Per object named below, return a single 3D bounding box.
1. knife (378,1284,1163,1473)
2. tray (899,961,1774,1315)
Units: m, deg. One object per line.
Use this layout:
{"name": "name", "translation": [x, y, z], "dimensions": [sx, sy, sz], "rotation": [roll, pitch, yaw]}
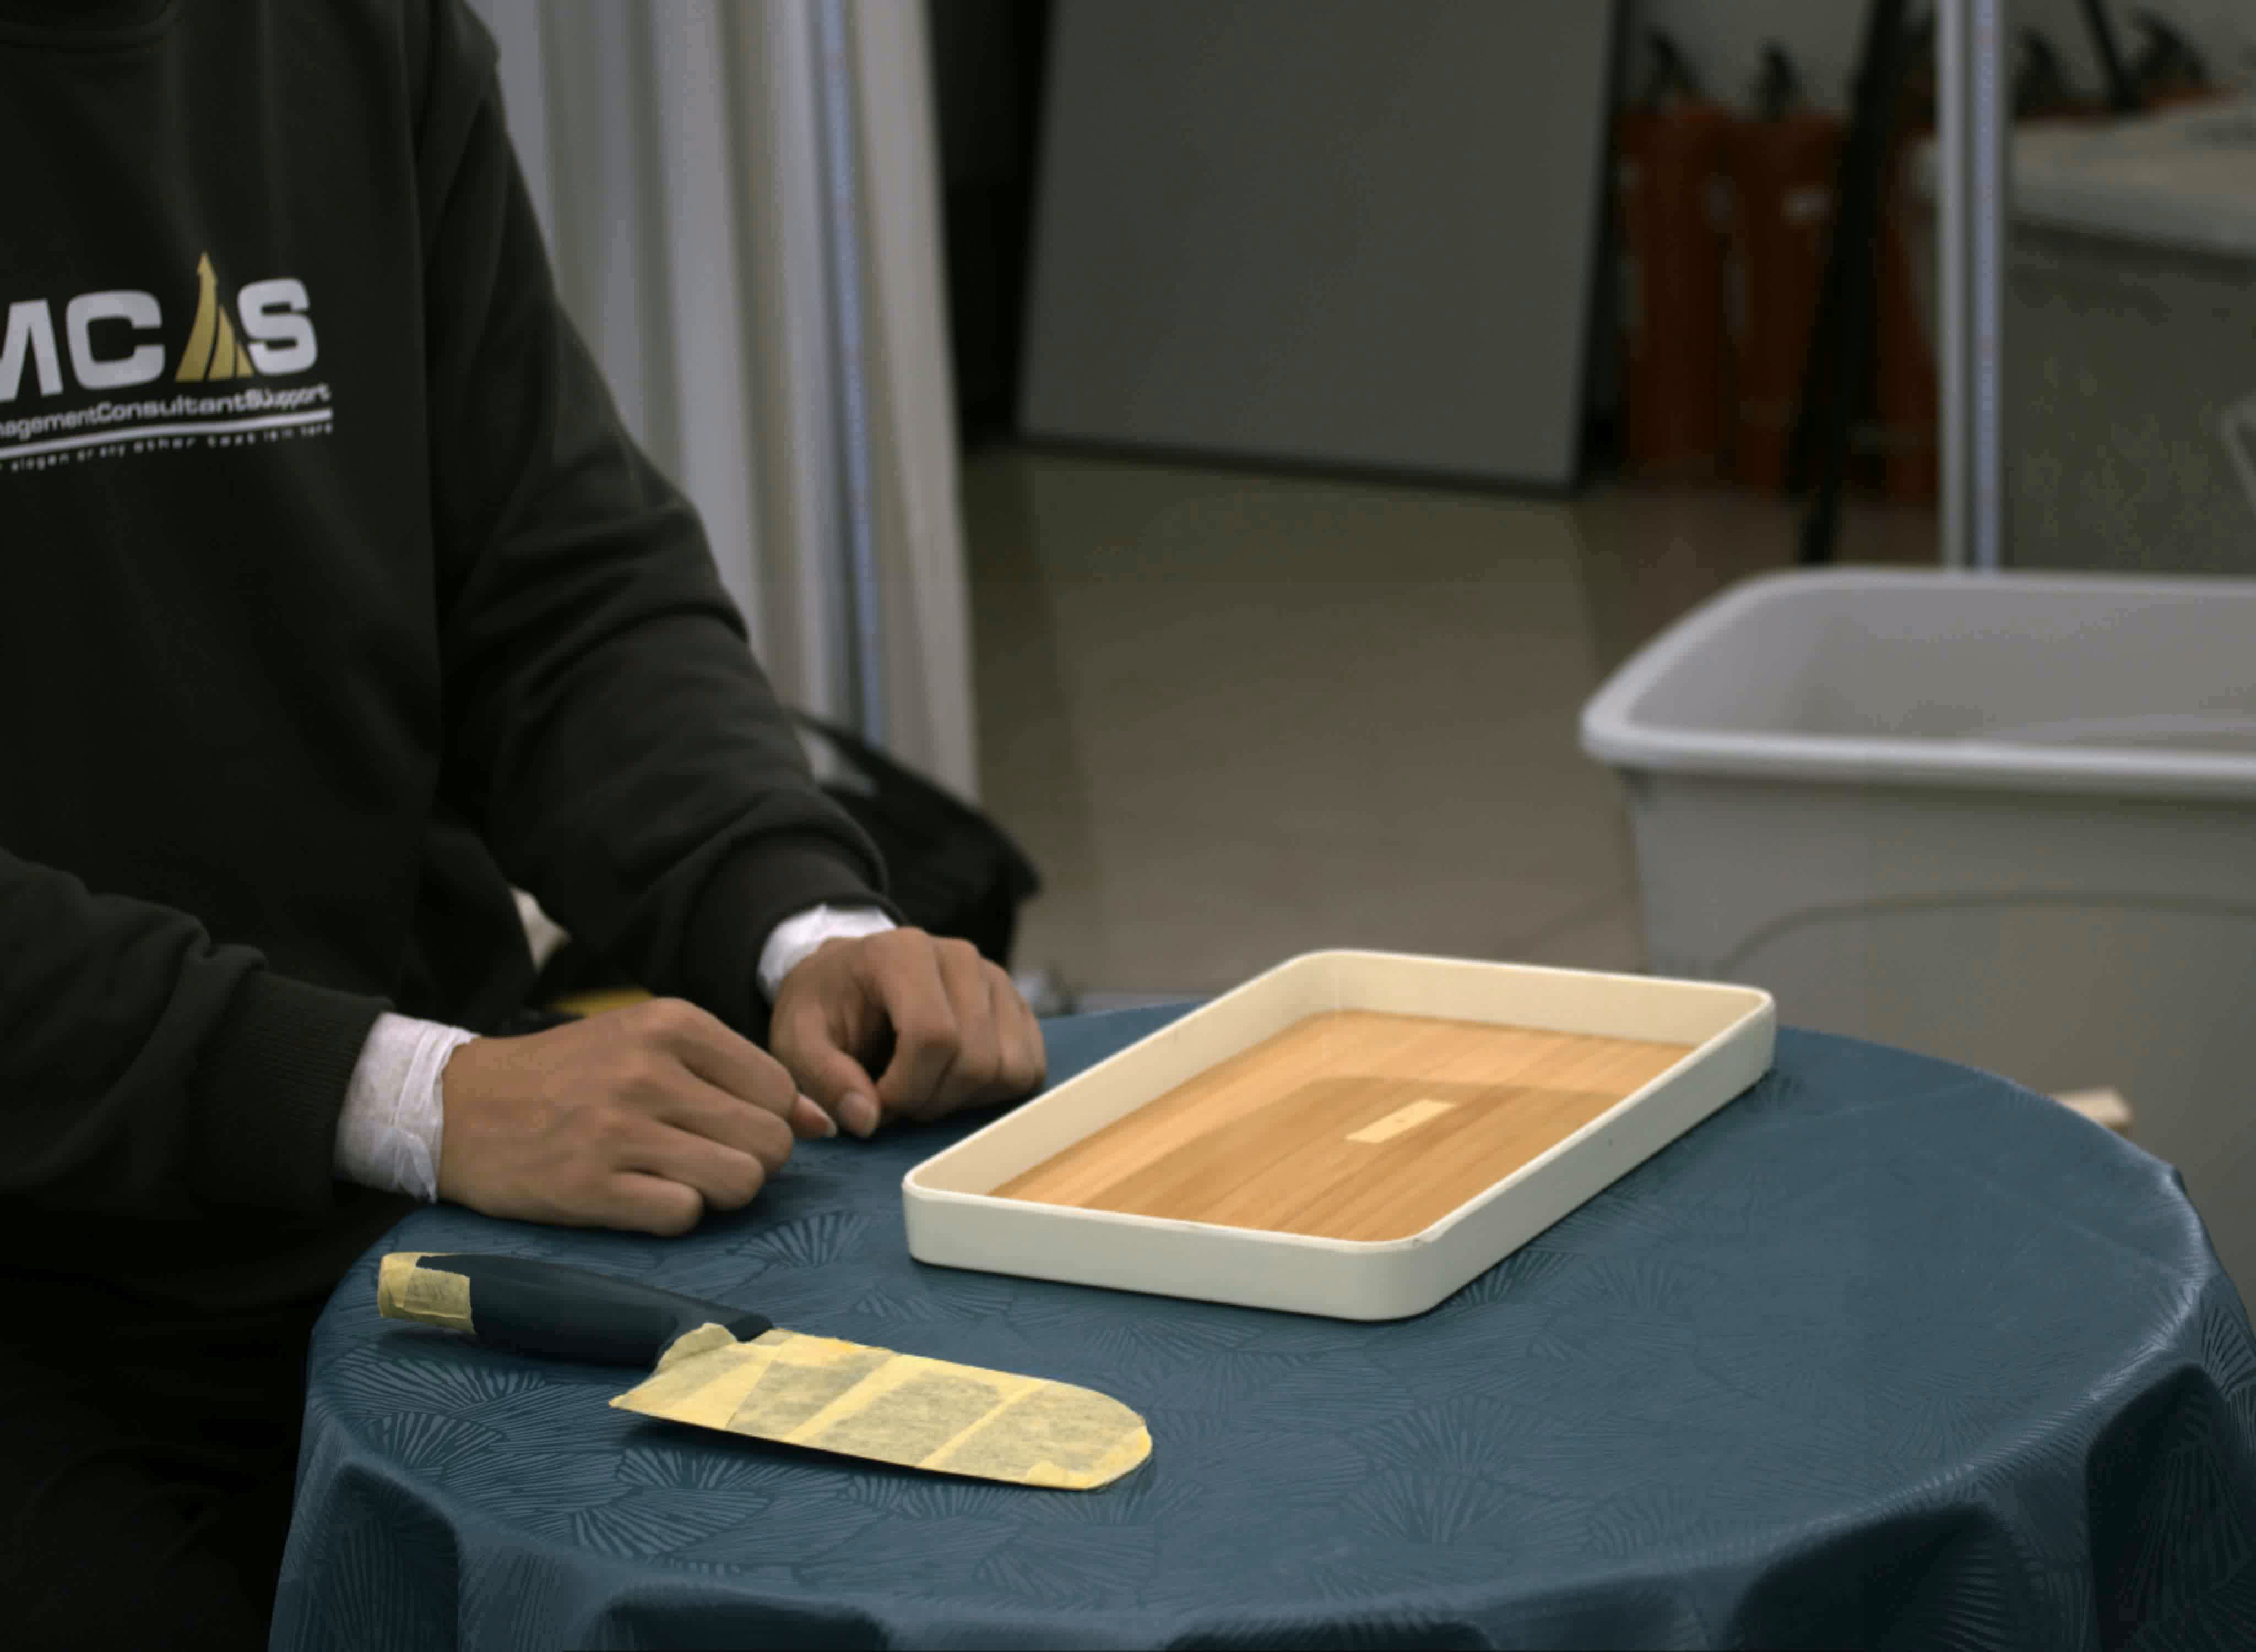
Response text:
{"name": "knife", "translation": [-0.113, 0.165, 1.596], "dimensions": [0.291, 0.027, 0.079], "rotation": [5, 15, 32]}
{"name": "tray", "translation": [0.075, 0.099, 1.788], "dimensions": [0.192, 0.028, 0.295], "rotation": [3, 15, 31]}
